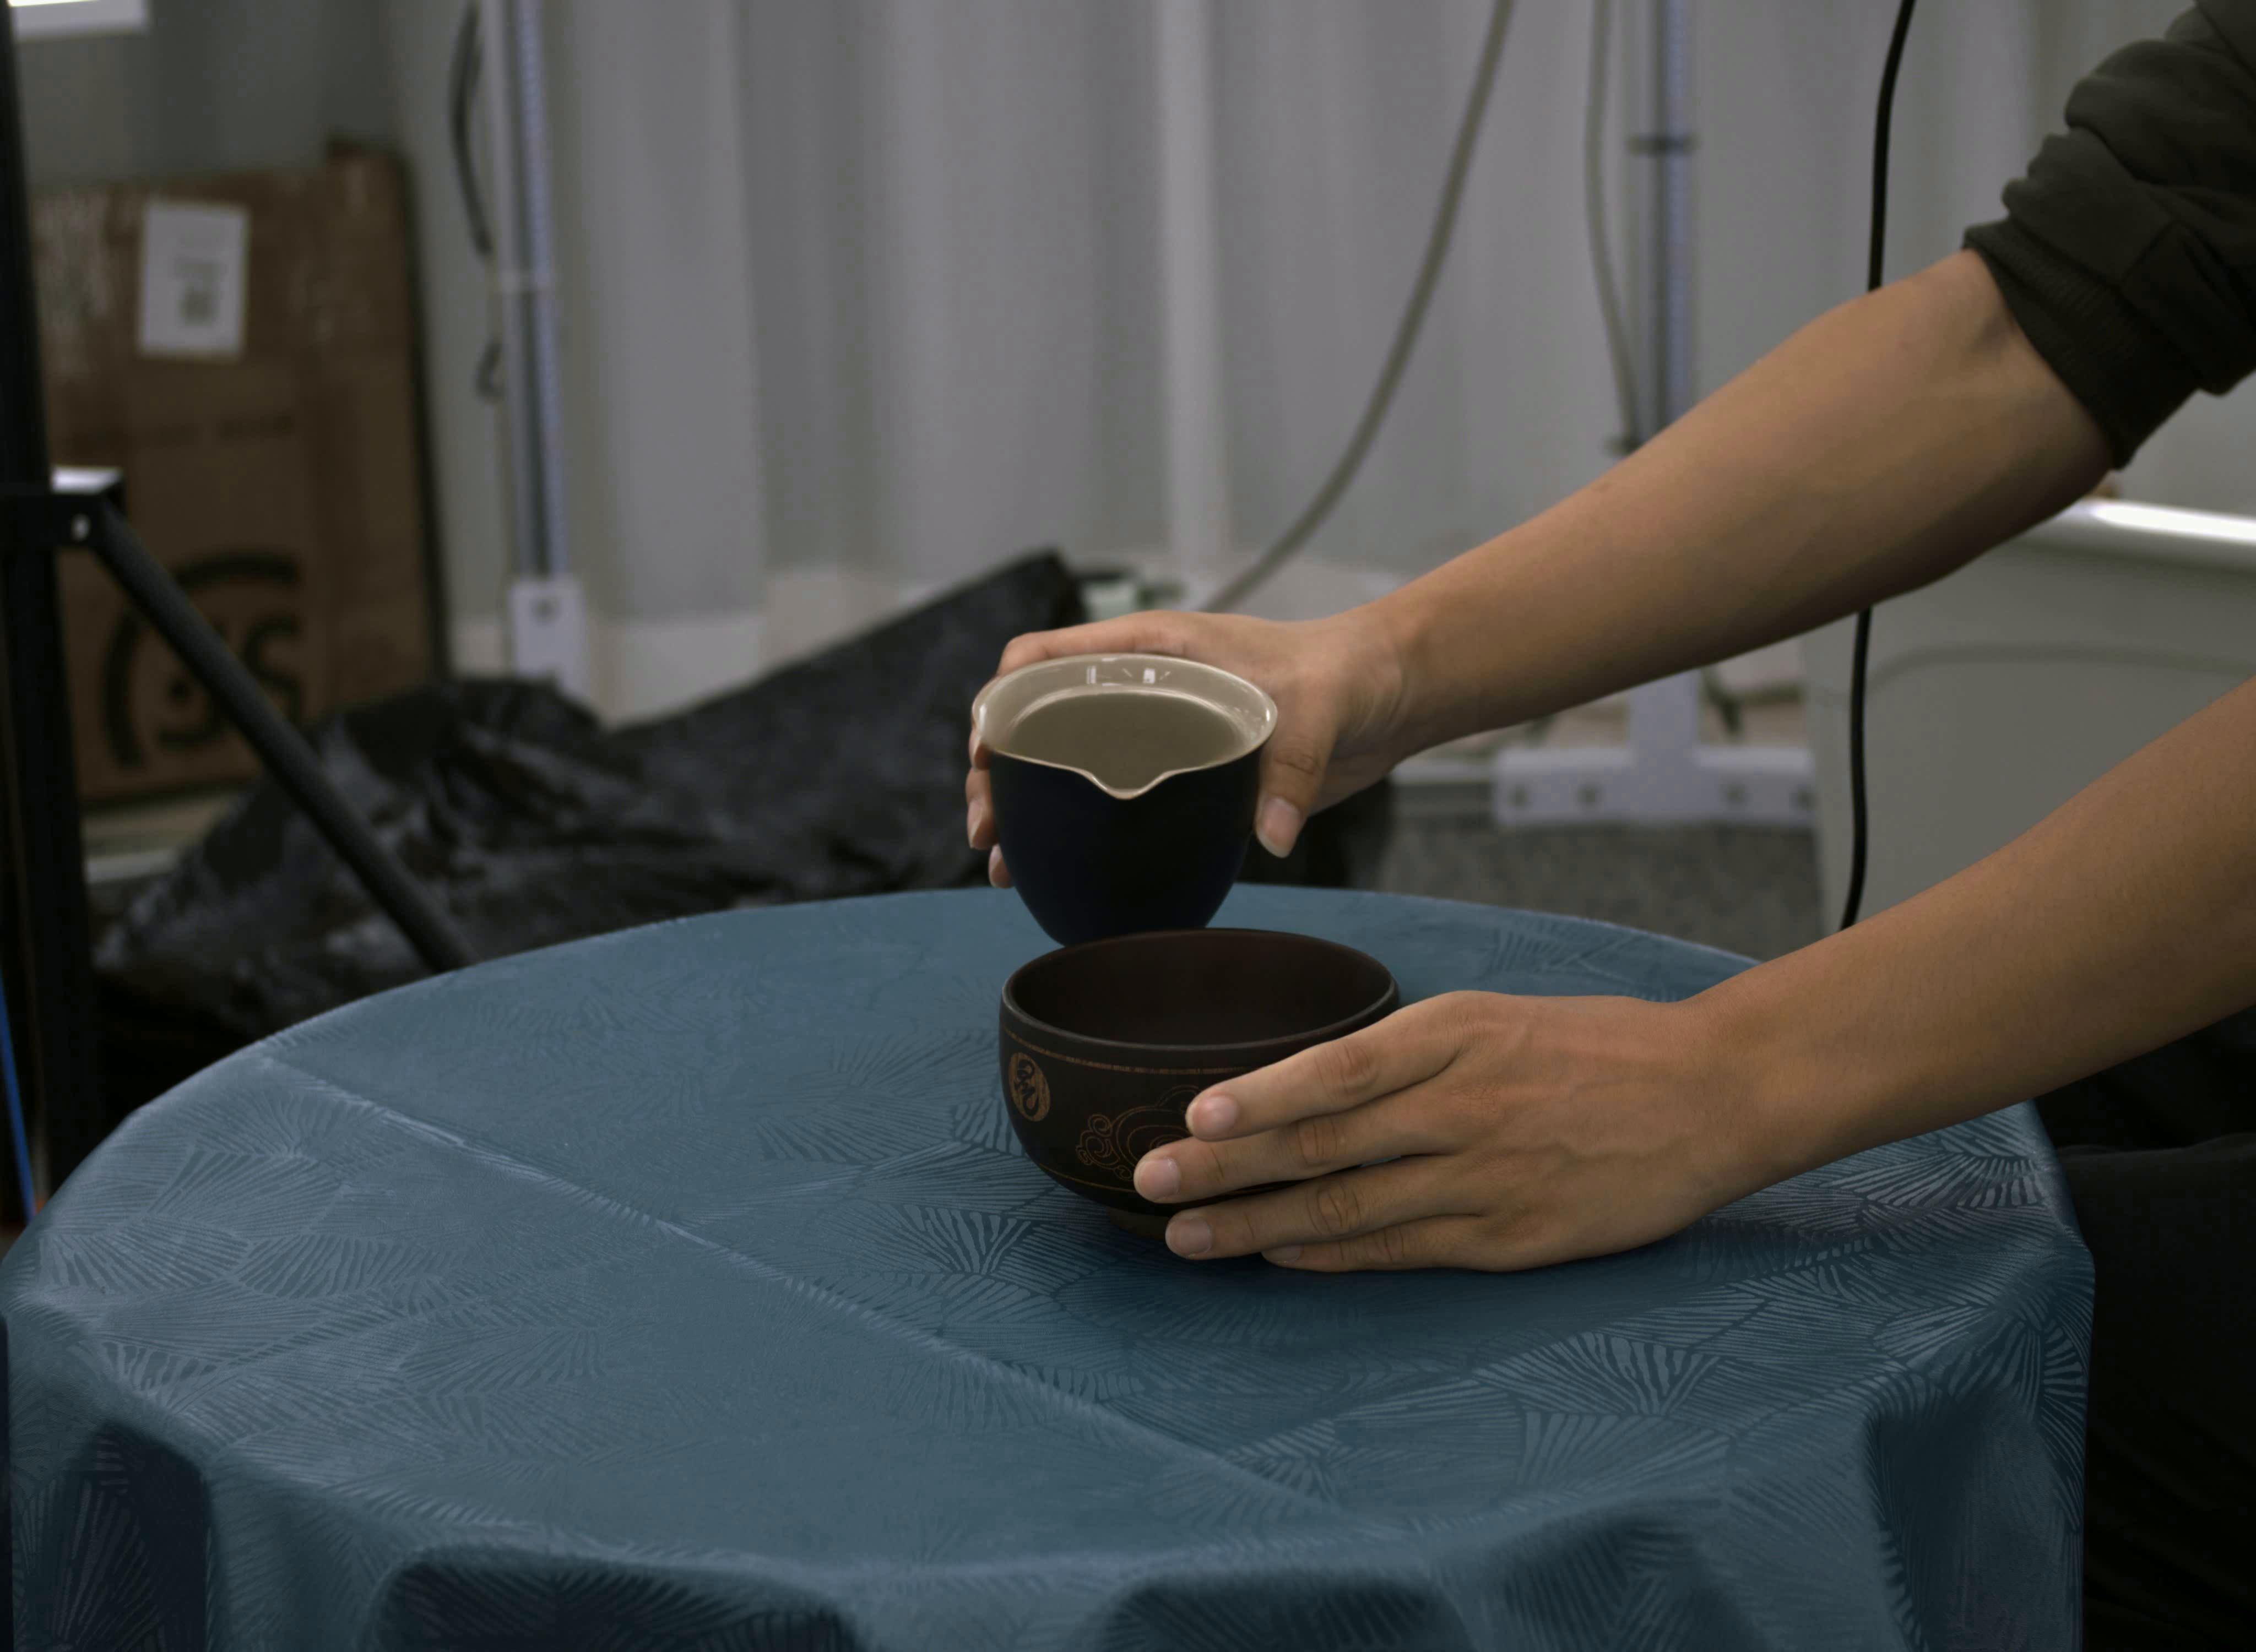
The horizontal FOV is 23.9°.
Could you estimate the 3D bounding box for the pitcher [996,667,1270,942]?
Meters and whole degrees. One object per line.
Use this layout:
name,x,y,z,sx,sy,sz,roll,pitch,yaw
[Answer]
pitcher,0.000,-0.003,1.621,0.084,0.071,0.096,5,24,6

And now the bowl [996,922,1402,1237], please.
bowl,0.022,0.077,1.535,0.117,0.070,0.118,-4,15,0
